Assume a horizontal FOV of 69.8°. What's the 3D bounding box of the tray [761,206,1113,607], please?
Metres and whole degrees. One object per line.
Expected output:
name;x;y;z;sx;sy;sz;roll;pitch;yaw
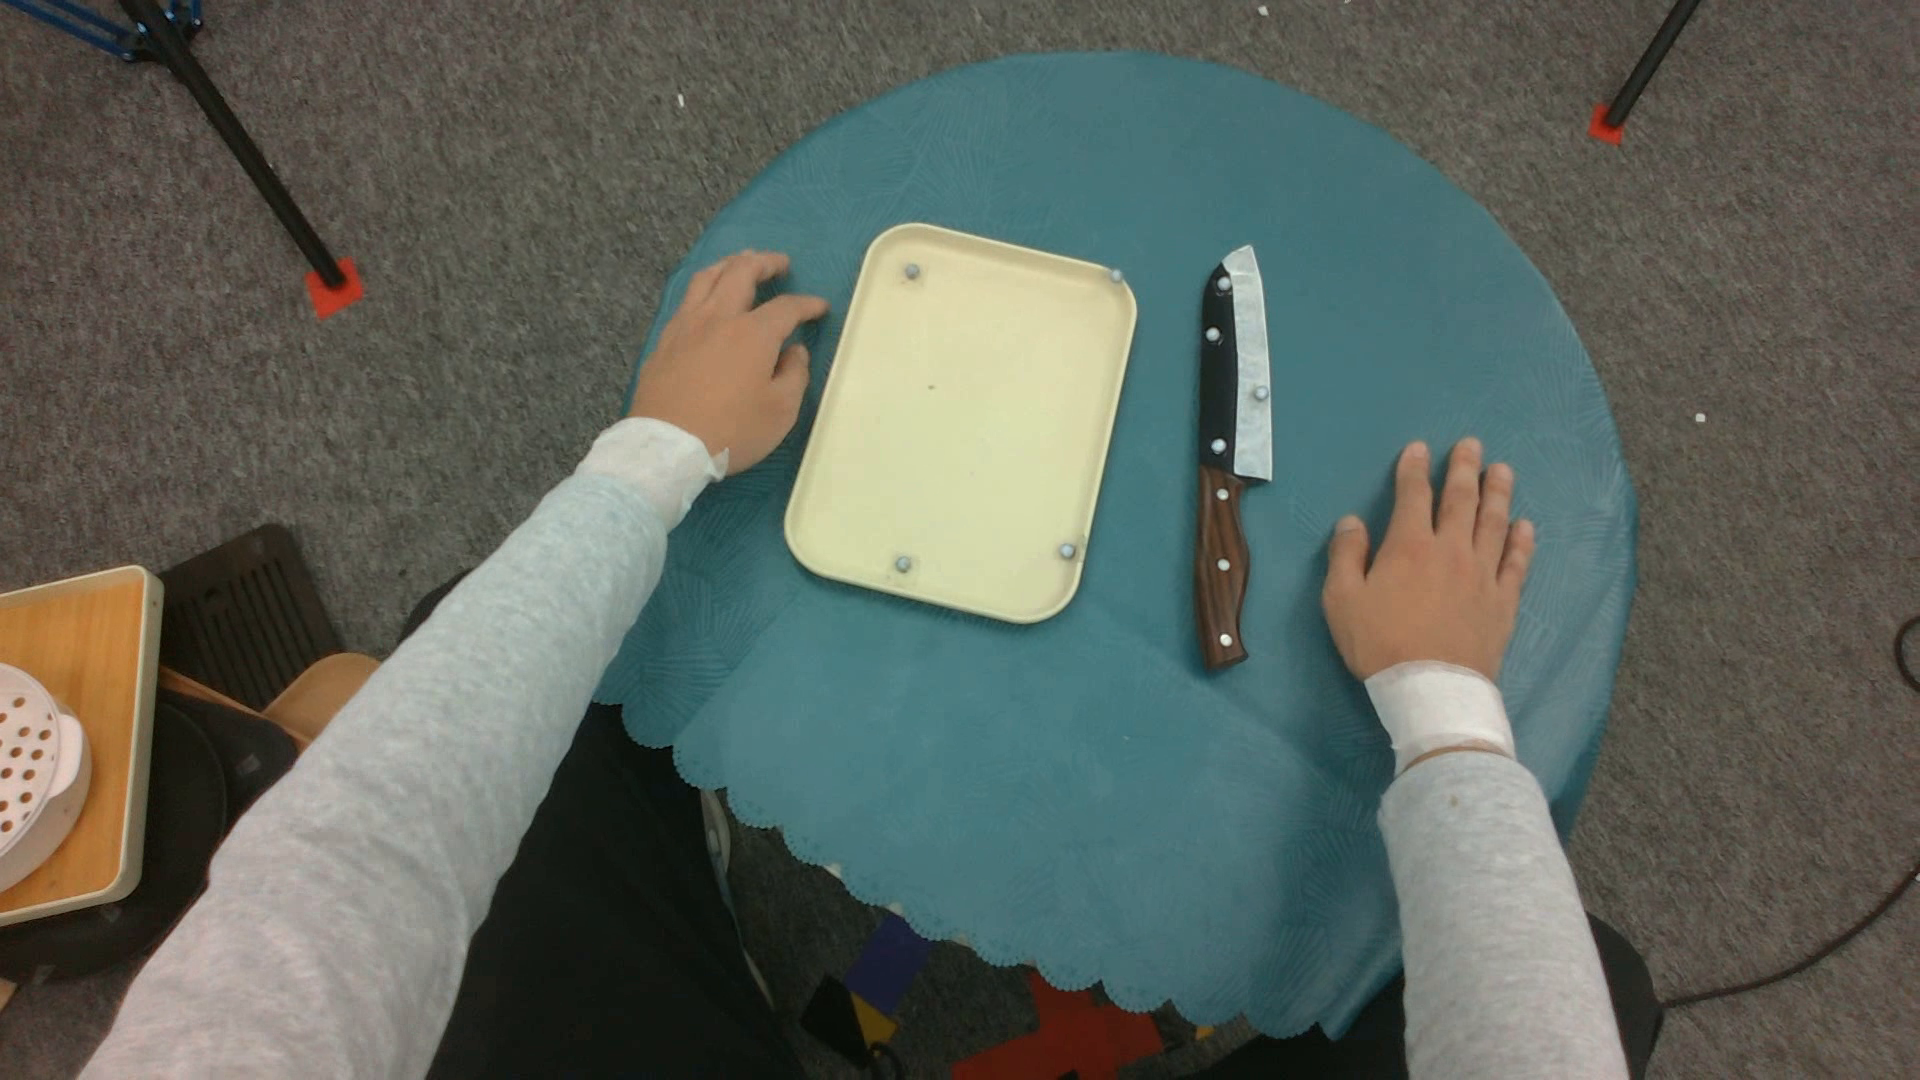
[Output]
tray;-0.009;-0.082;0.806;0.171;0.017;0.240;14;68;1

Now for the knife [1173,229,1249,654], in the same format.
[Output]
knife;0.148;-0.068;0.816;0.050;0.020;0.290;10;65;-6
